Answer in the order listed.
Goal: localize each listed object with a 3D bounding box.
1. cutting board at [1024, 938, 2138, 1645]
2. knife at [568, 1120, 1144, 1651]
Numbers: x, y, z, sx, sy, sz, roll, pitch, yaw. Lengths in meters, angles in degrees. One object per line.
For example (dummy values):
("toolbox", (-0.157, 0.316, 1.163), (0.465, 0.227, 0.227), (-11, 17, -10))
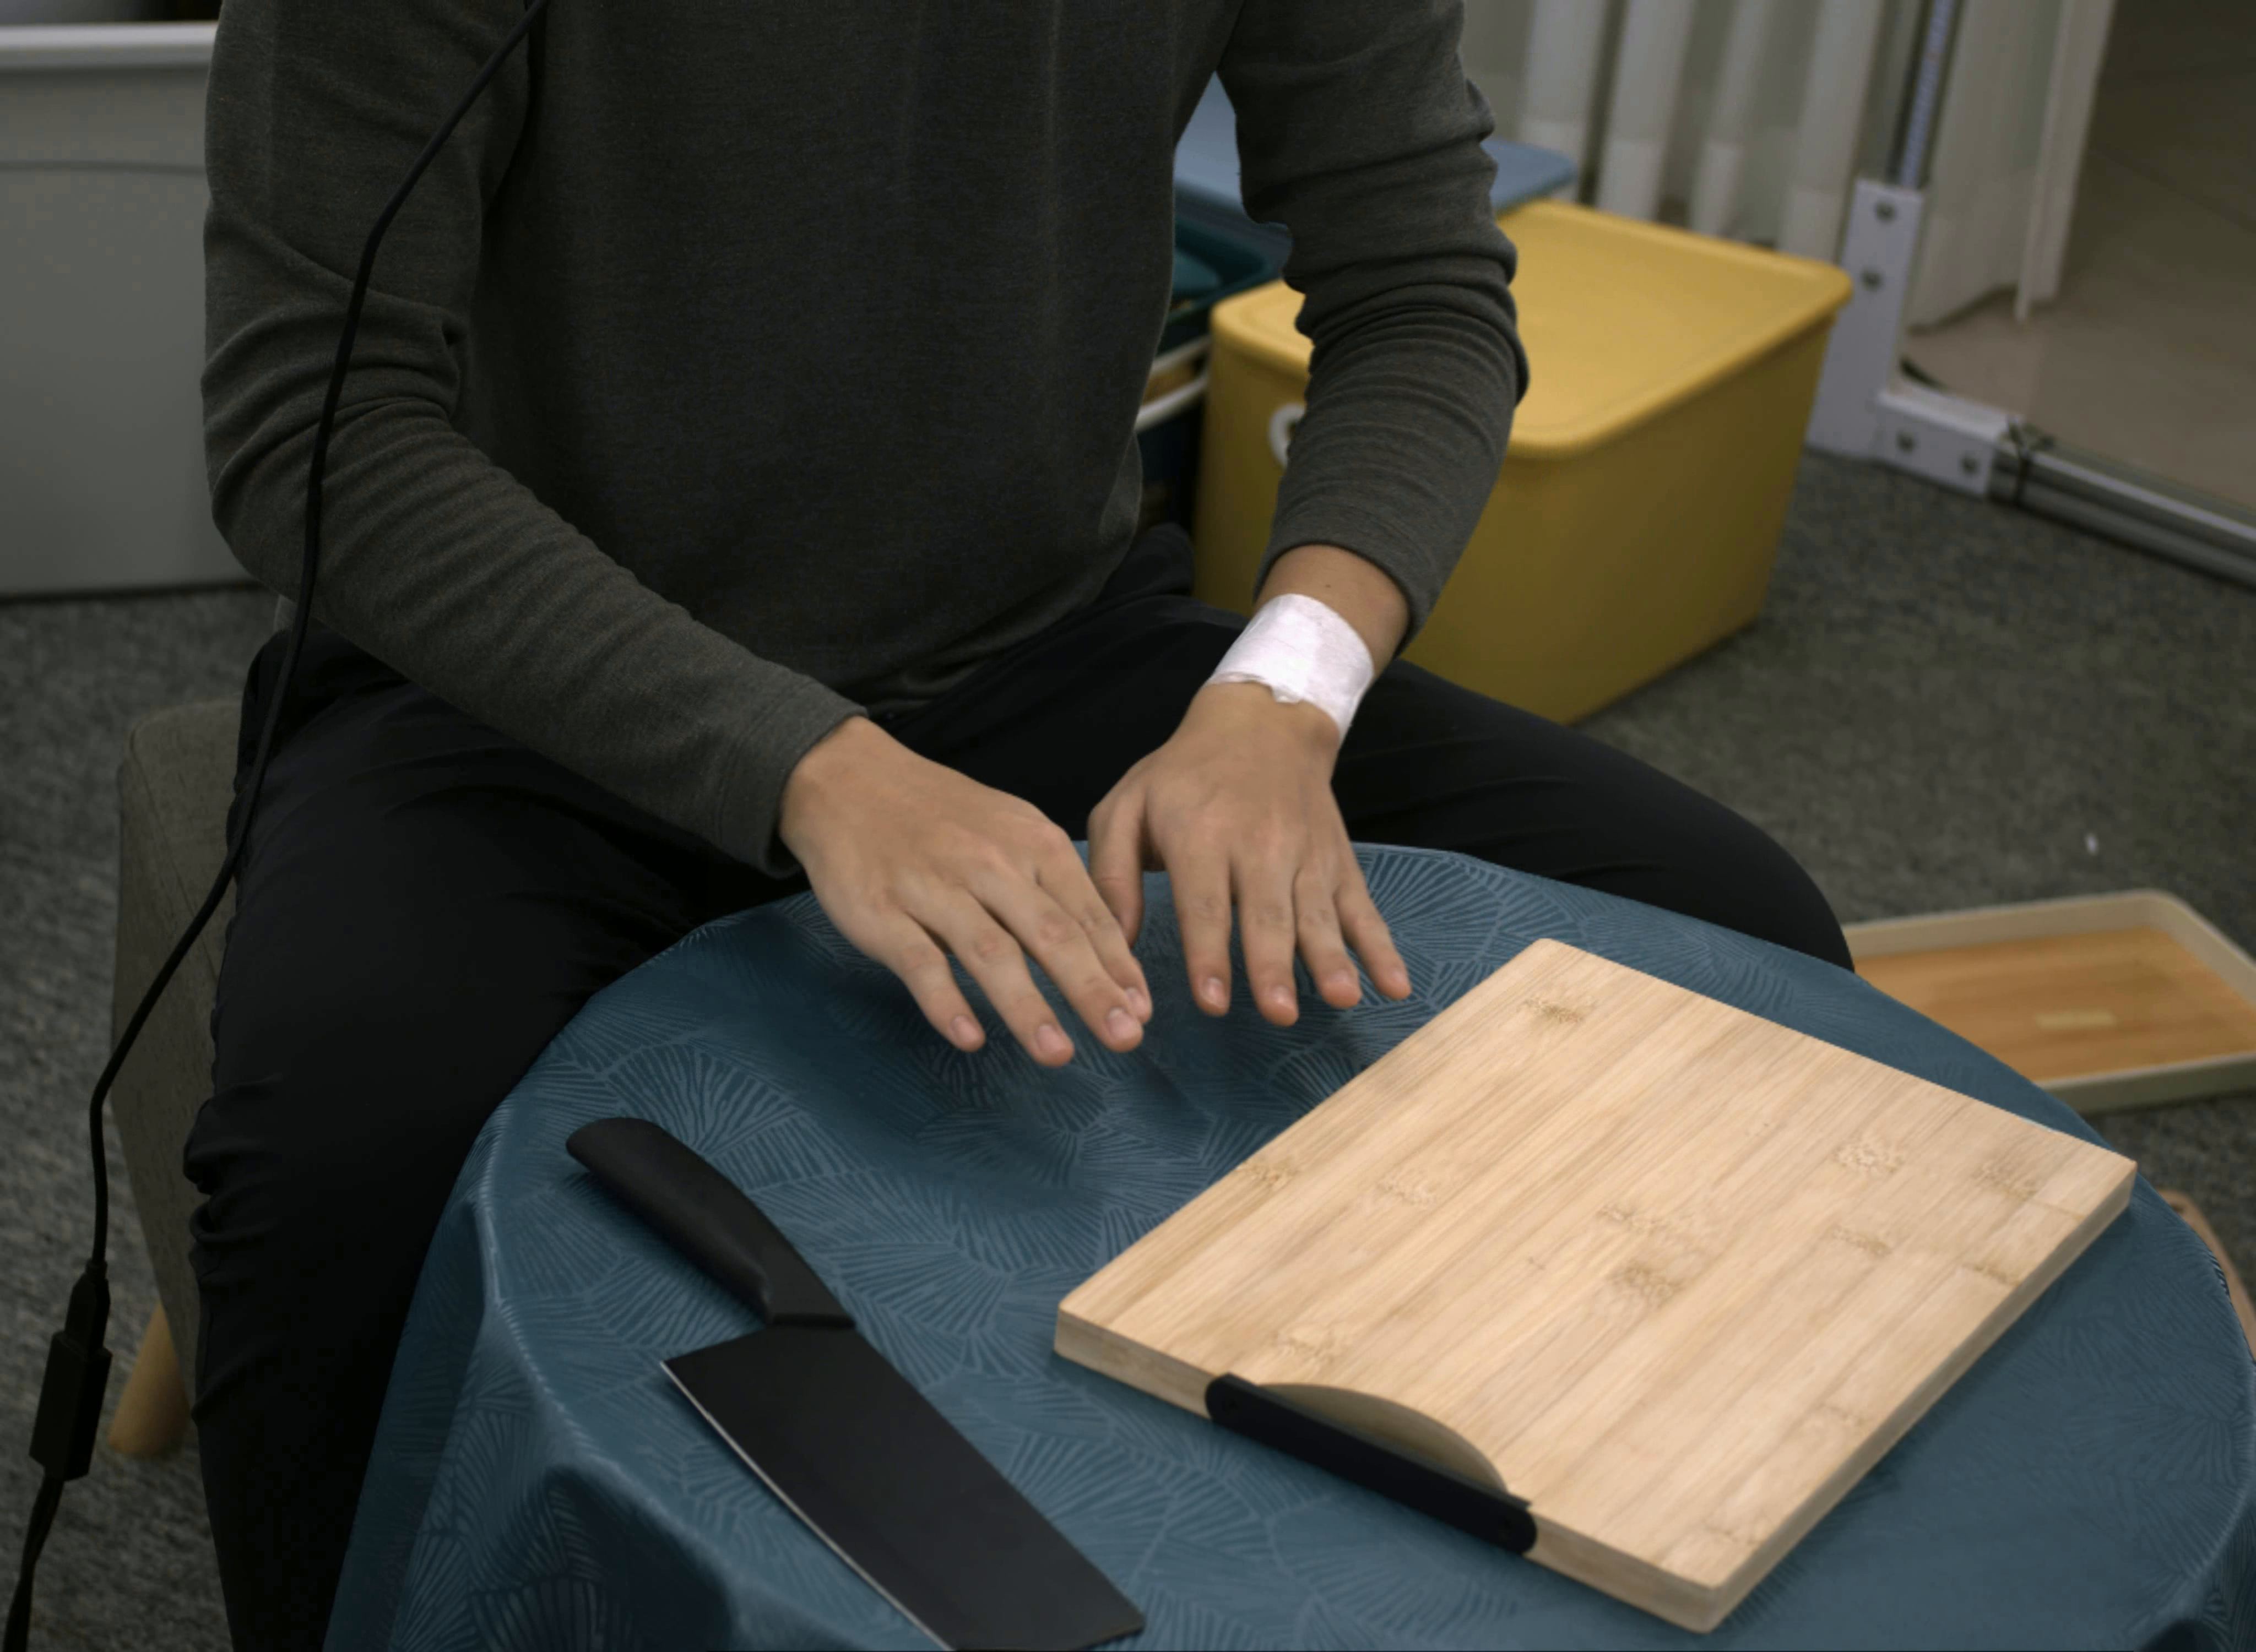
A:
("cutting board", (0.161, 0.145, 1.782), (0.252, 0.023, 0.348), (20, 29, 26))
("knife", (-0.100, 0.175, 1.667), (0.080, 0.021, 0.305), (-10, 33, -29))
